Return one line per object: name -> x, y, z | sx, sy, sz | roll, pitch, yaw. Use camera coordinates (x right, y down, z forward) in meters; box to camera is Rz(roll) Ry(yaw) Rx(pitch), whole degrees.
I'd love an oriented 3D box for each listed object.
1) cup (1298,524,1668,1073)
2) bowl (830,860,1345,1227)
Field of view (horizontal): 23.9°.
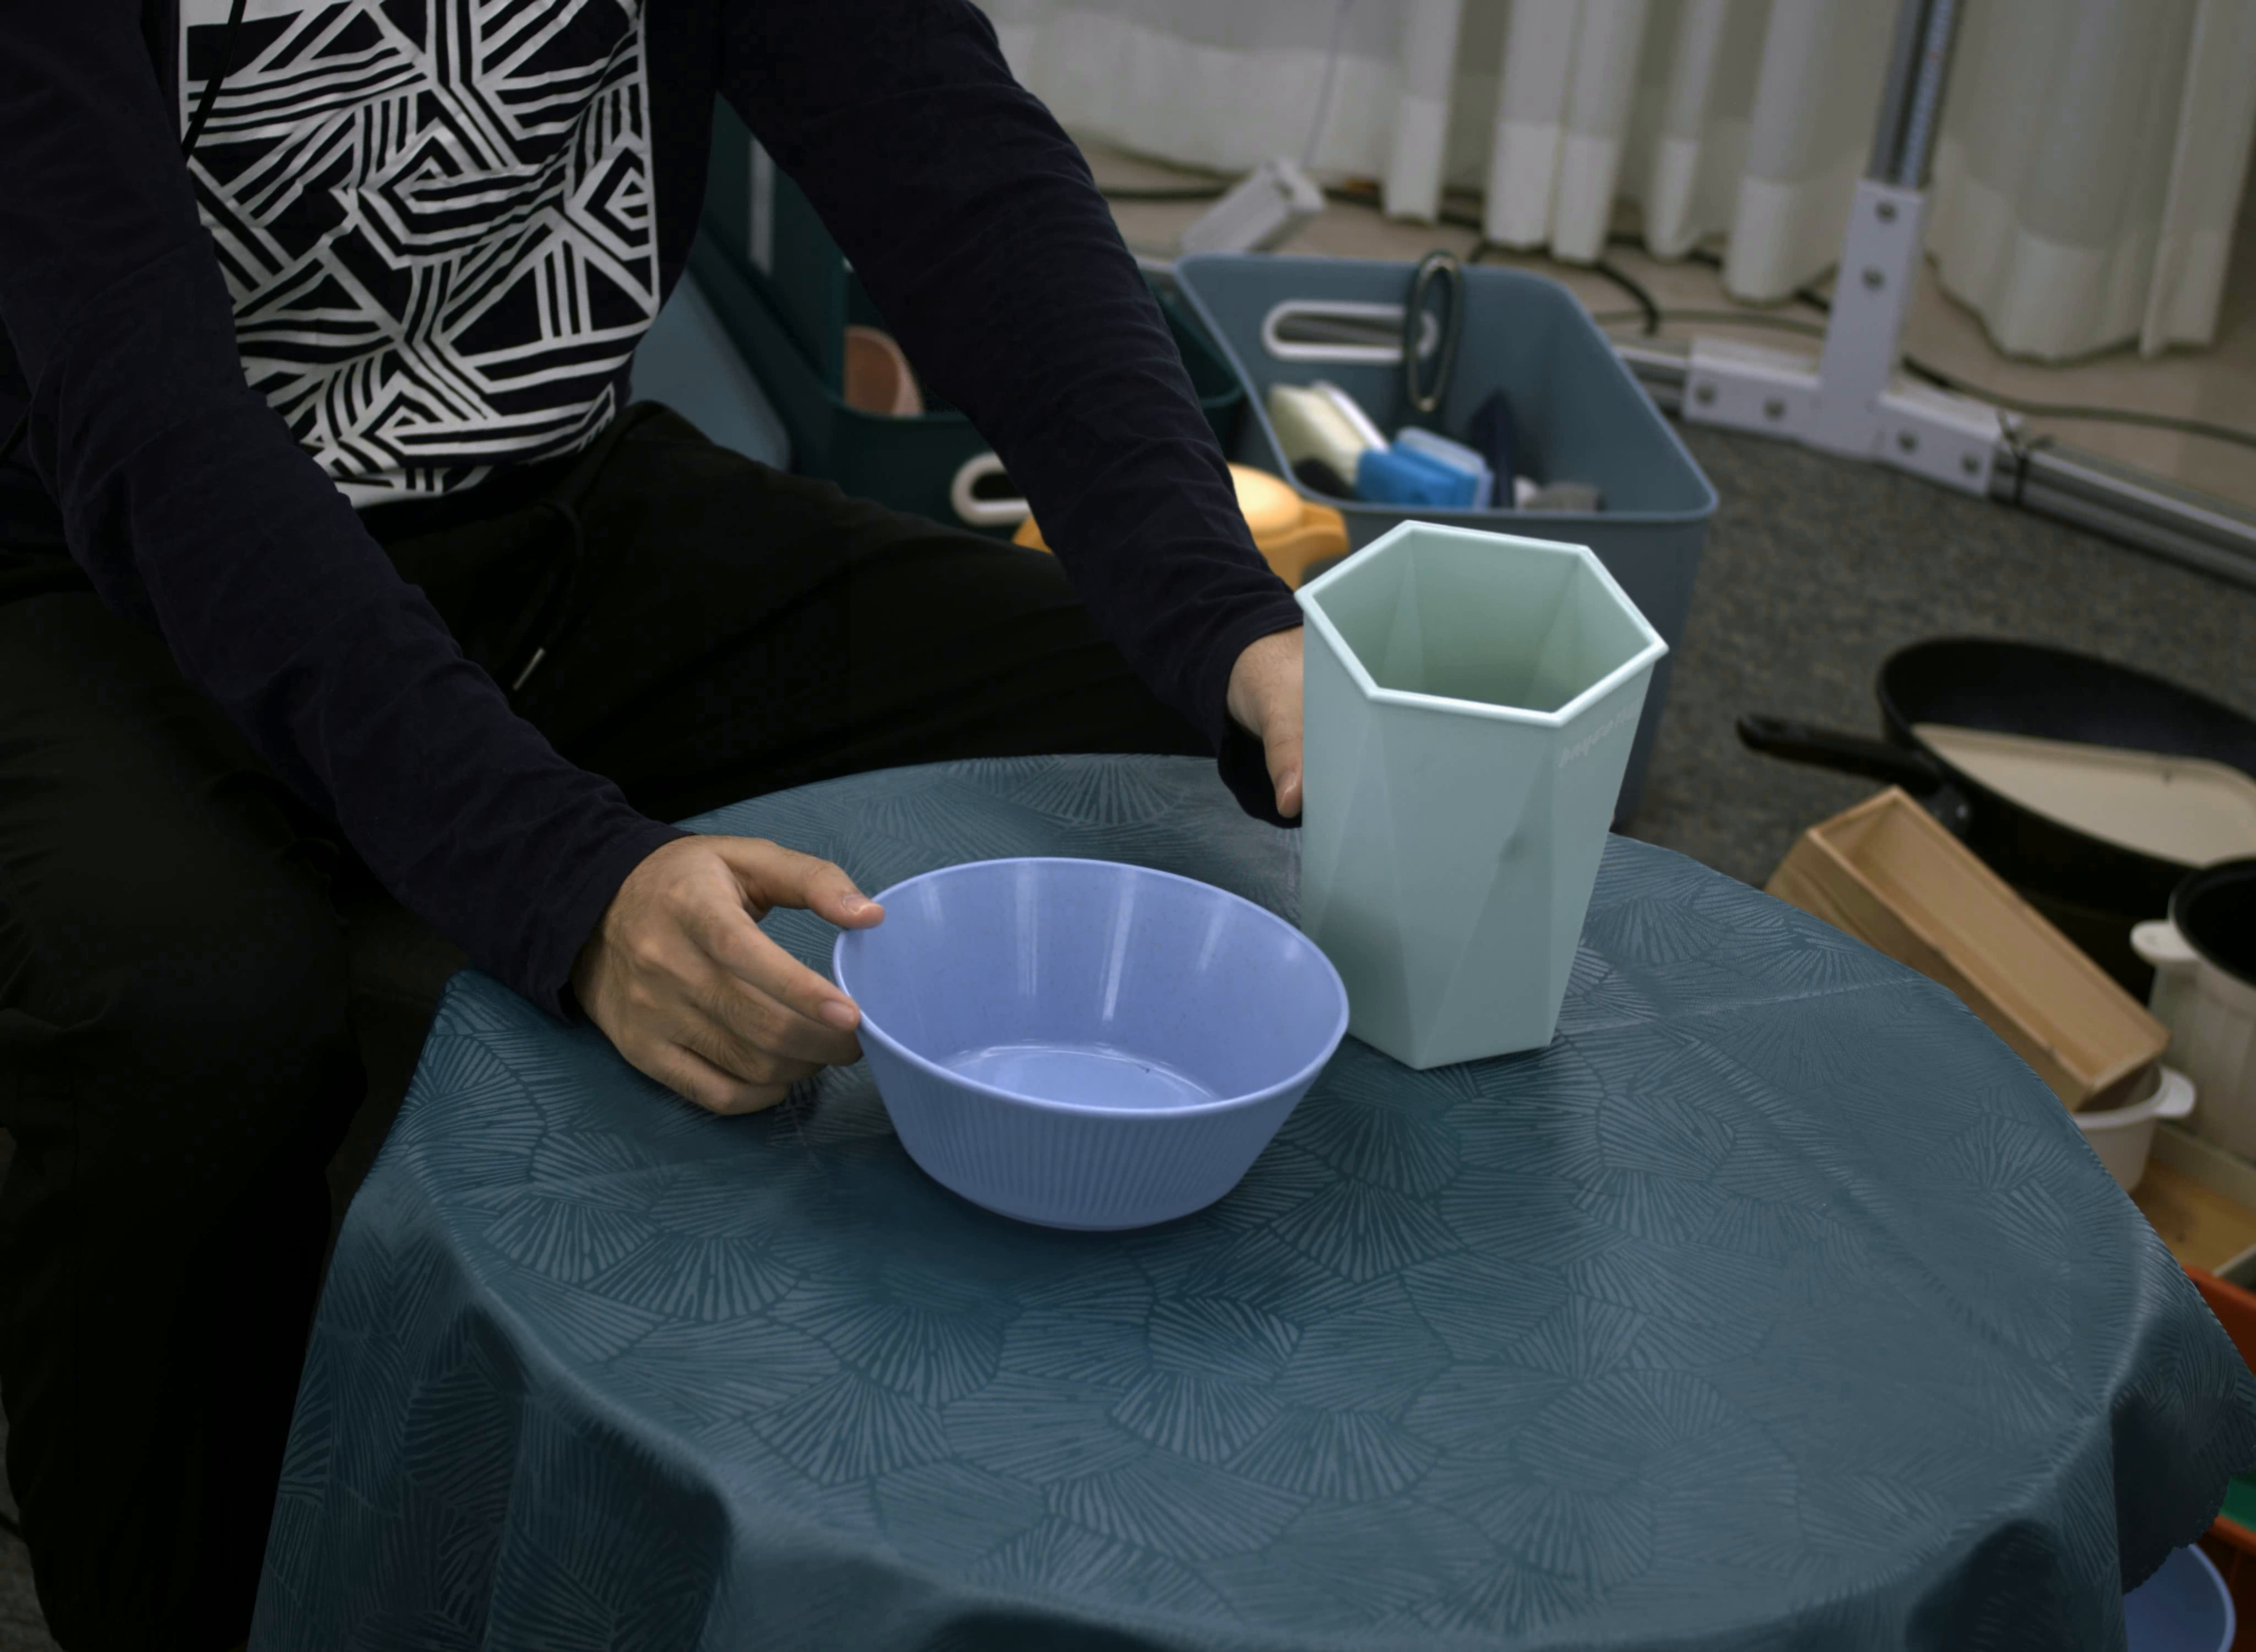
cup -> 0.118, -0.007, 1.893 | 0.116, 0.162, 0.131 | 24, 38, 28
bowl -> -0.017, 0.080, 1.812 | 0.175, 0.070, 0.177 | 5, 27, -3
